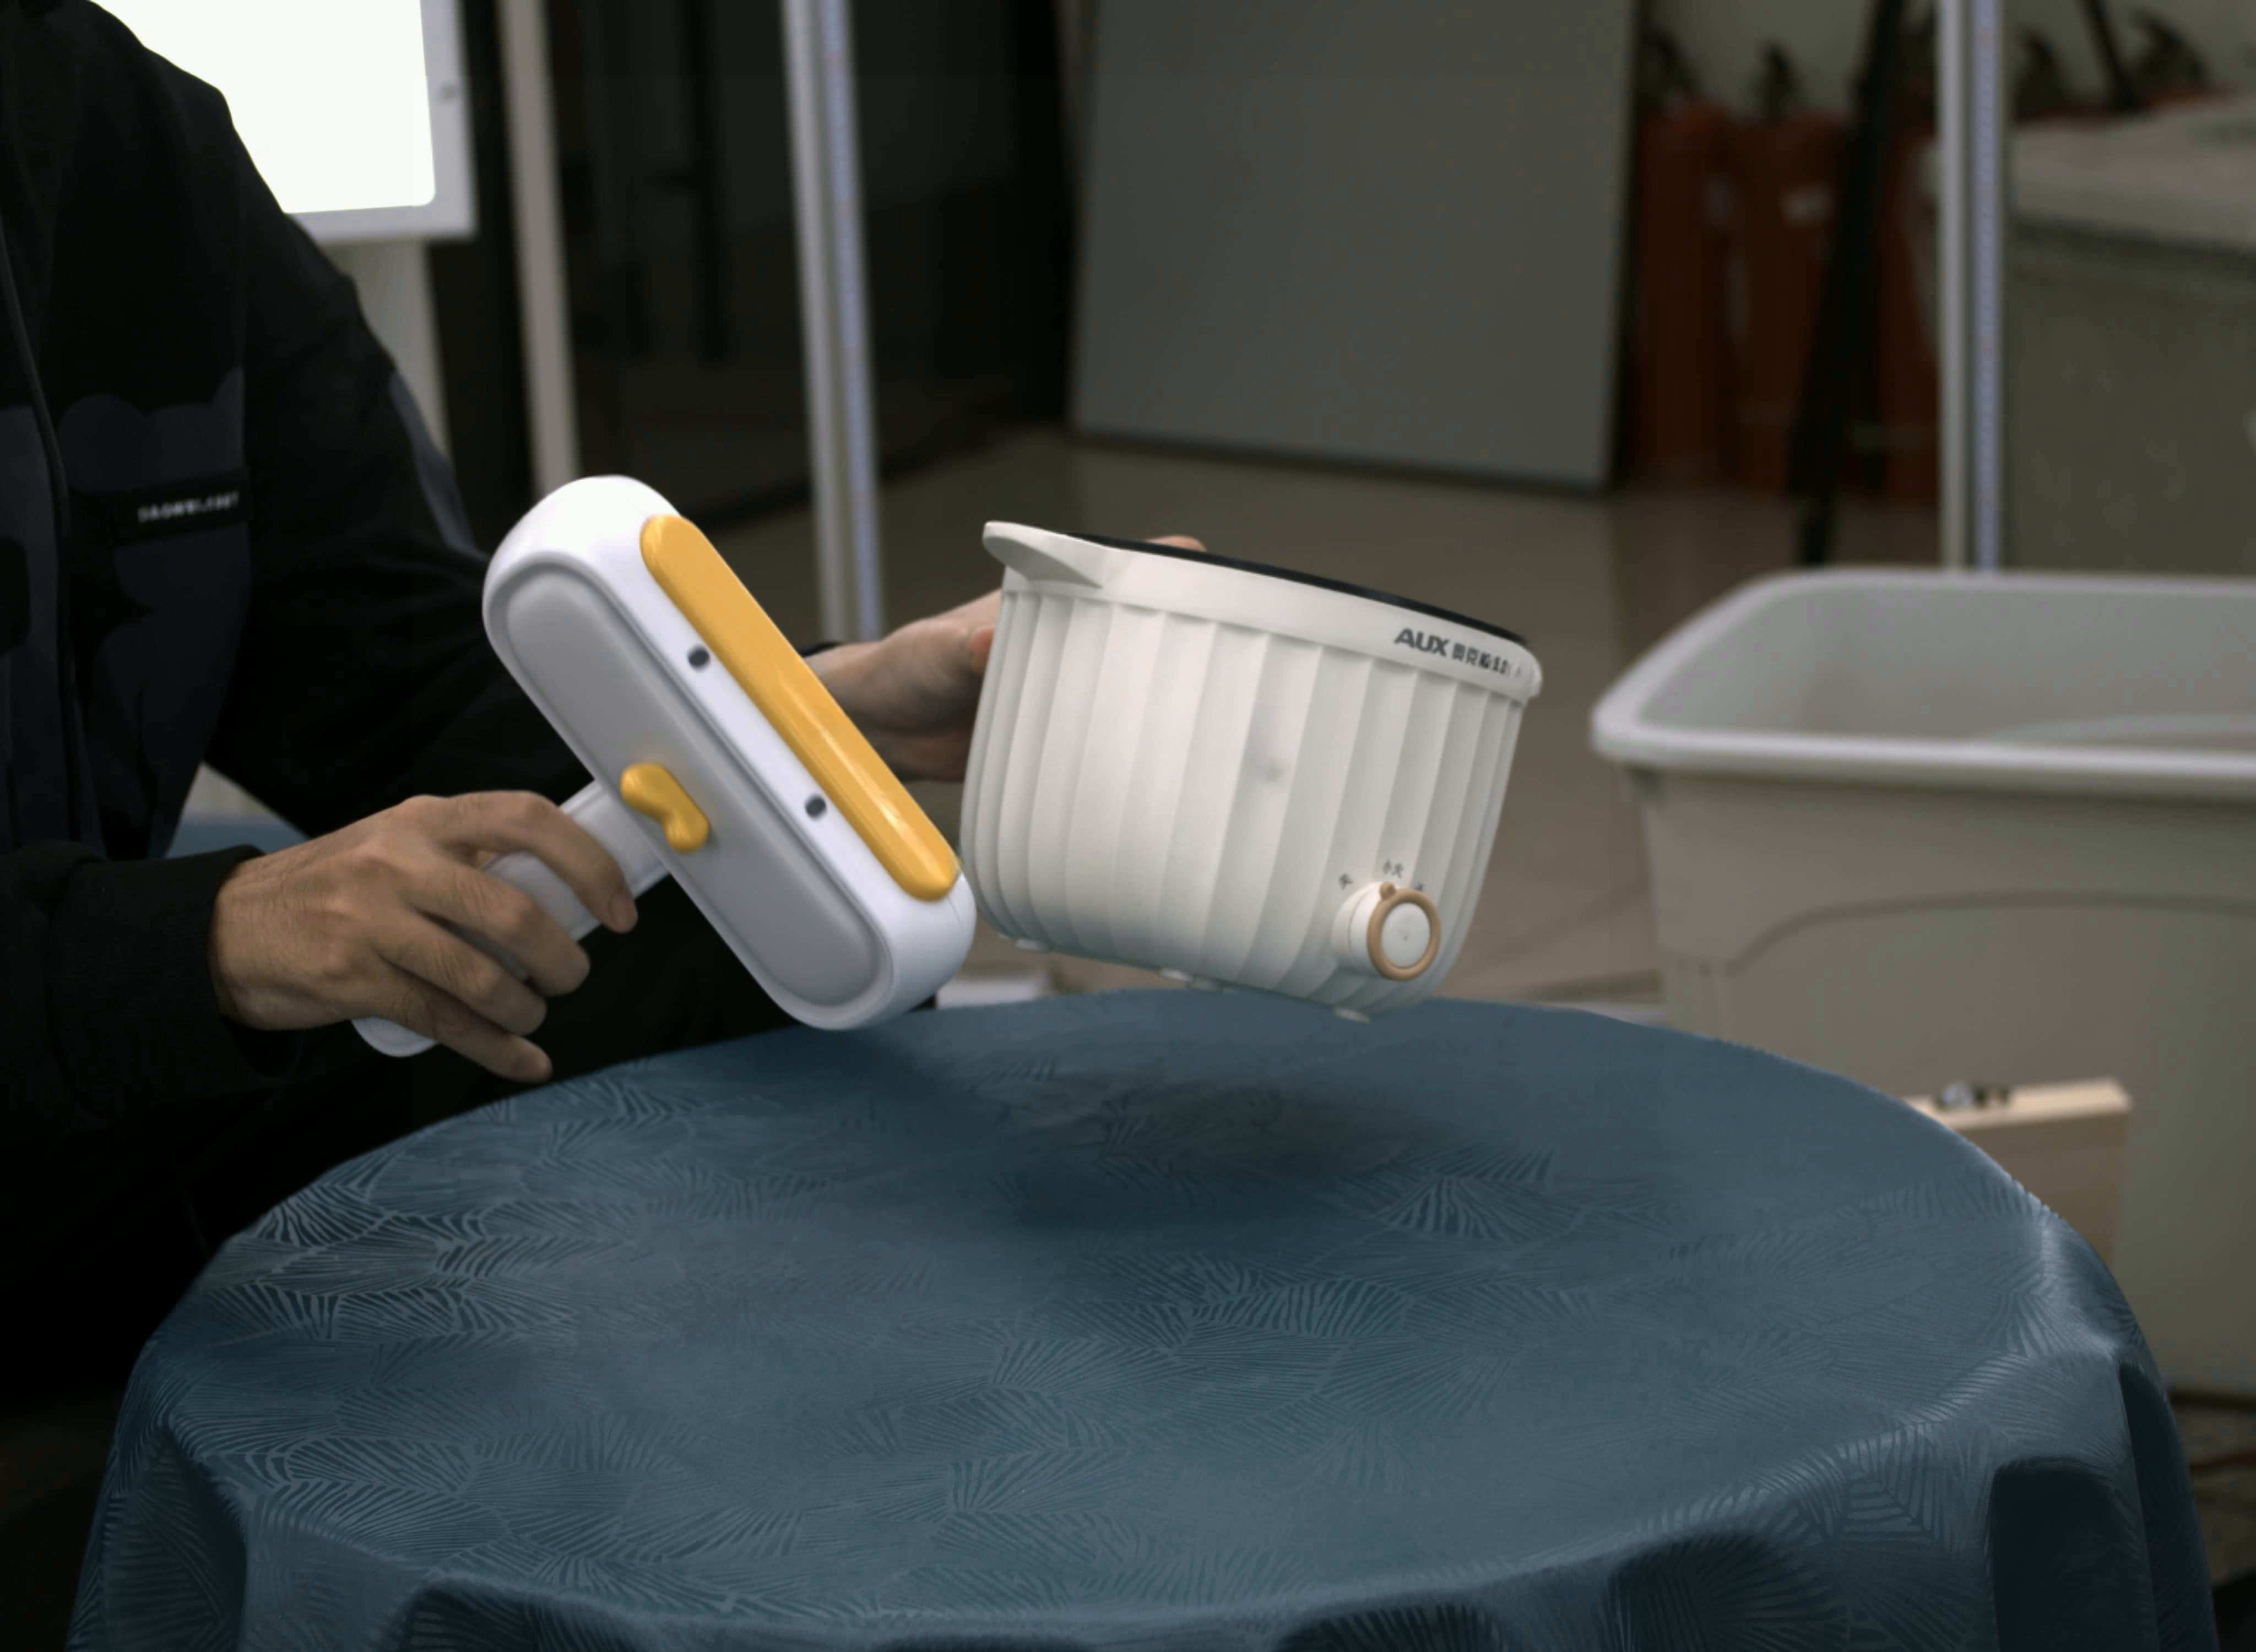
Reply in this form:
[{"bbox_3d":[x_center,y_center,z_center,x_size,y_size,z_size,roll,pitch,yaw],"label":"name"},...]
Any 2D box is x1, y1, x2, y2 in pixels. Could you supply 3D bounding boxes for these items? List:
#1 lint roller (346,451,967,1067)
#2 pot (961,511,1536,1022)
[{"bbox_3d":[-0.167,0.007,1.669,0.194,0.192,0.074,-38,11,33],"label":"lint roller"},{"bbox_3d":[0.040,-0.014,1.791,0.235,0.144,0.192,13,-6,-38],"label":"pot"}]
